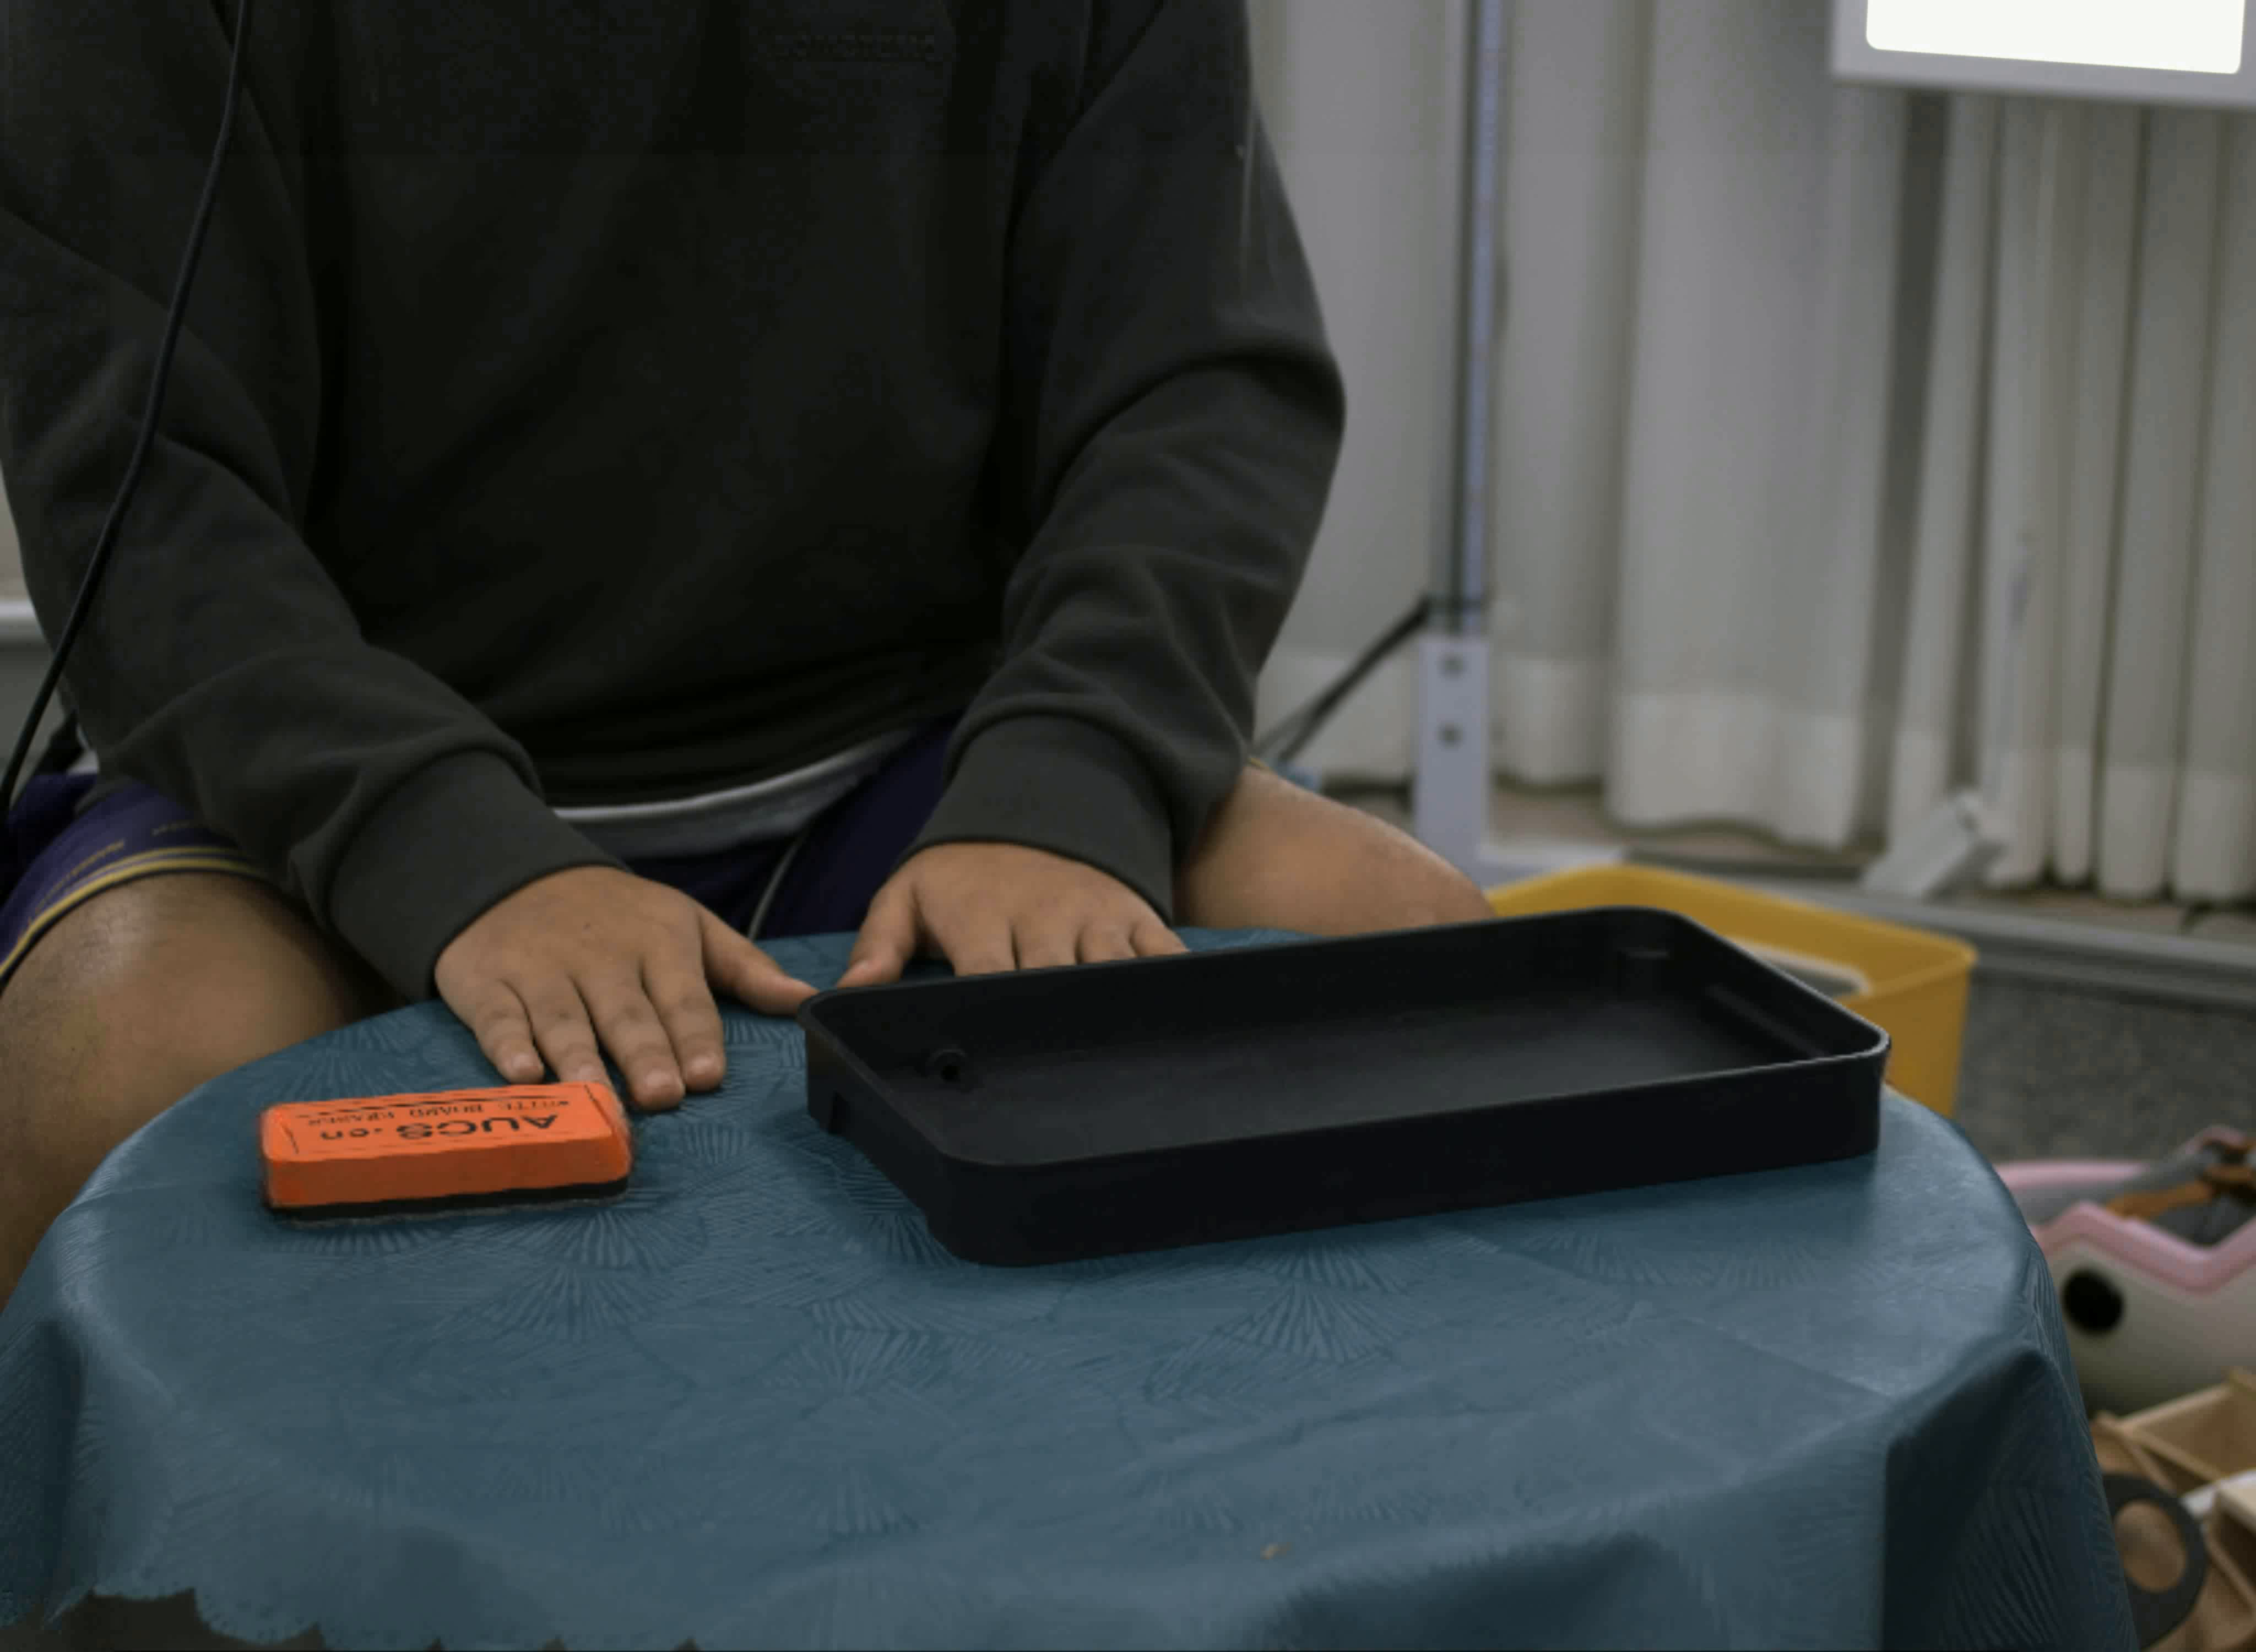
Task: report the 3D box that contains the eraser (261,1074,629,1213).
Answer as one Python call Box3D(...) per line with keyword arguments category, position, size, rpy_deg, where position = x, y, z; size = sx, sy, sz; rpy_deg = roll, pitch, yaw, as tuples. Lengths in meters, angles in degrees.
Box3D(category="eraser", position=(-0.210, 0.097, 1.614), size=(0.108, 0.023, 0.058), rpy_deg=(-5, 10, -15))

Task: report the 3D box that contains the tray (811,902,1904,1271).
Box3D(category="tray", position=(0.072, 0.079, 1.682), size=(0.319, 0.037, 0.182), rpy_deg=(-7, 17, -22))
